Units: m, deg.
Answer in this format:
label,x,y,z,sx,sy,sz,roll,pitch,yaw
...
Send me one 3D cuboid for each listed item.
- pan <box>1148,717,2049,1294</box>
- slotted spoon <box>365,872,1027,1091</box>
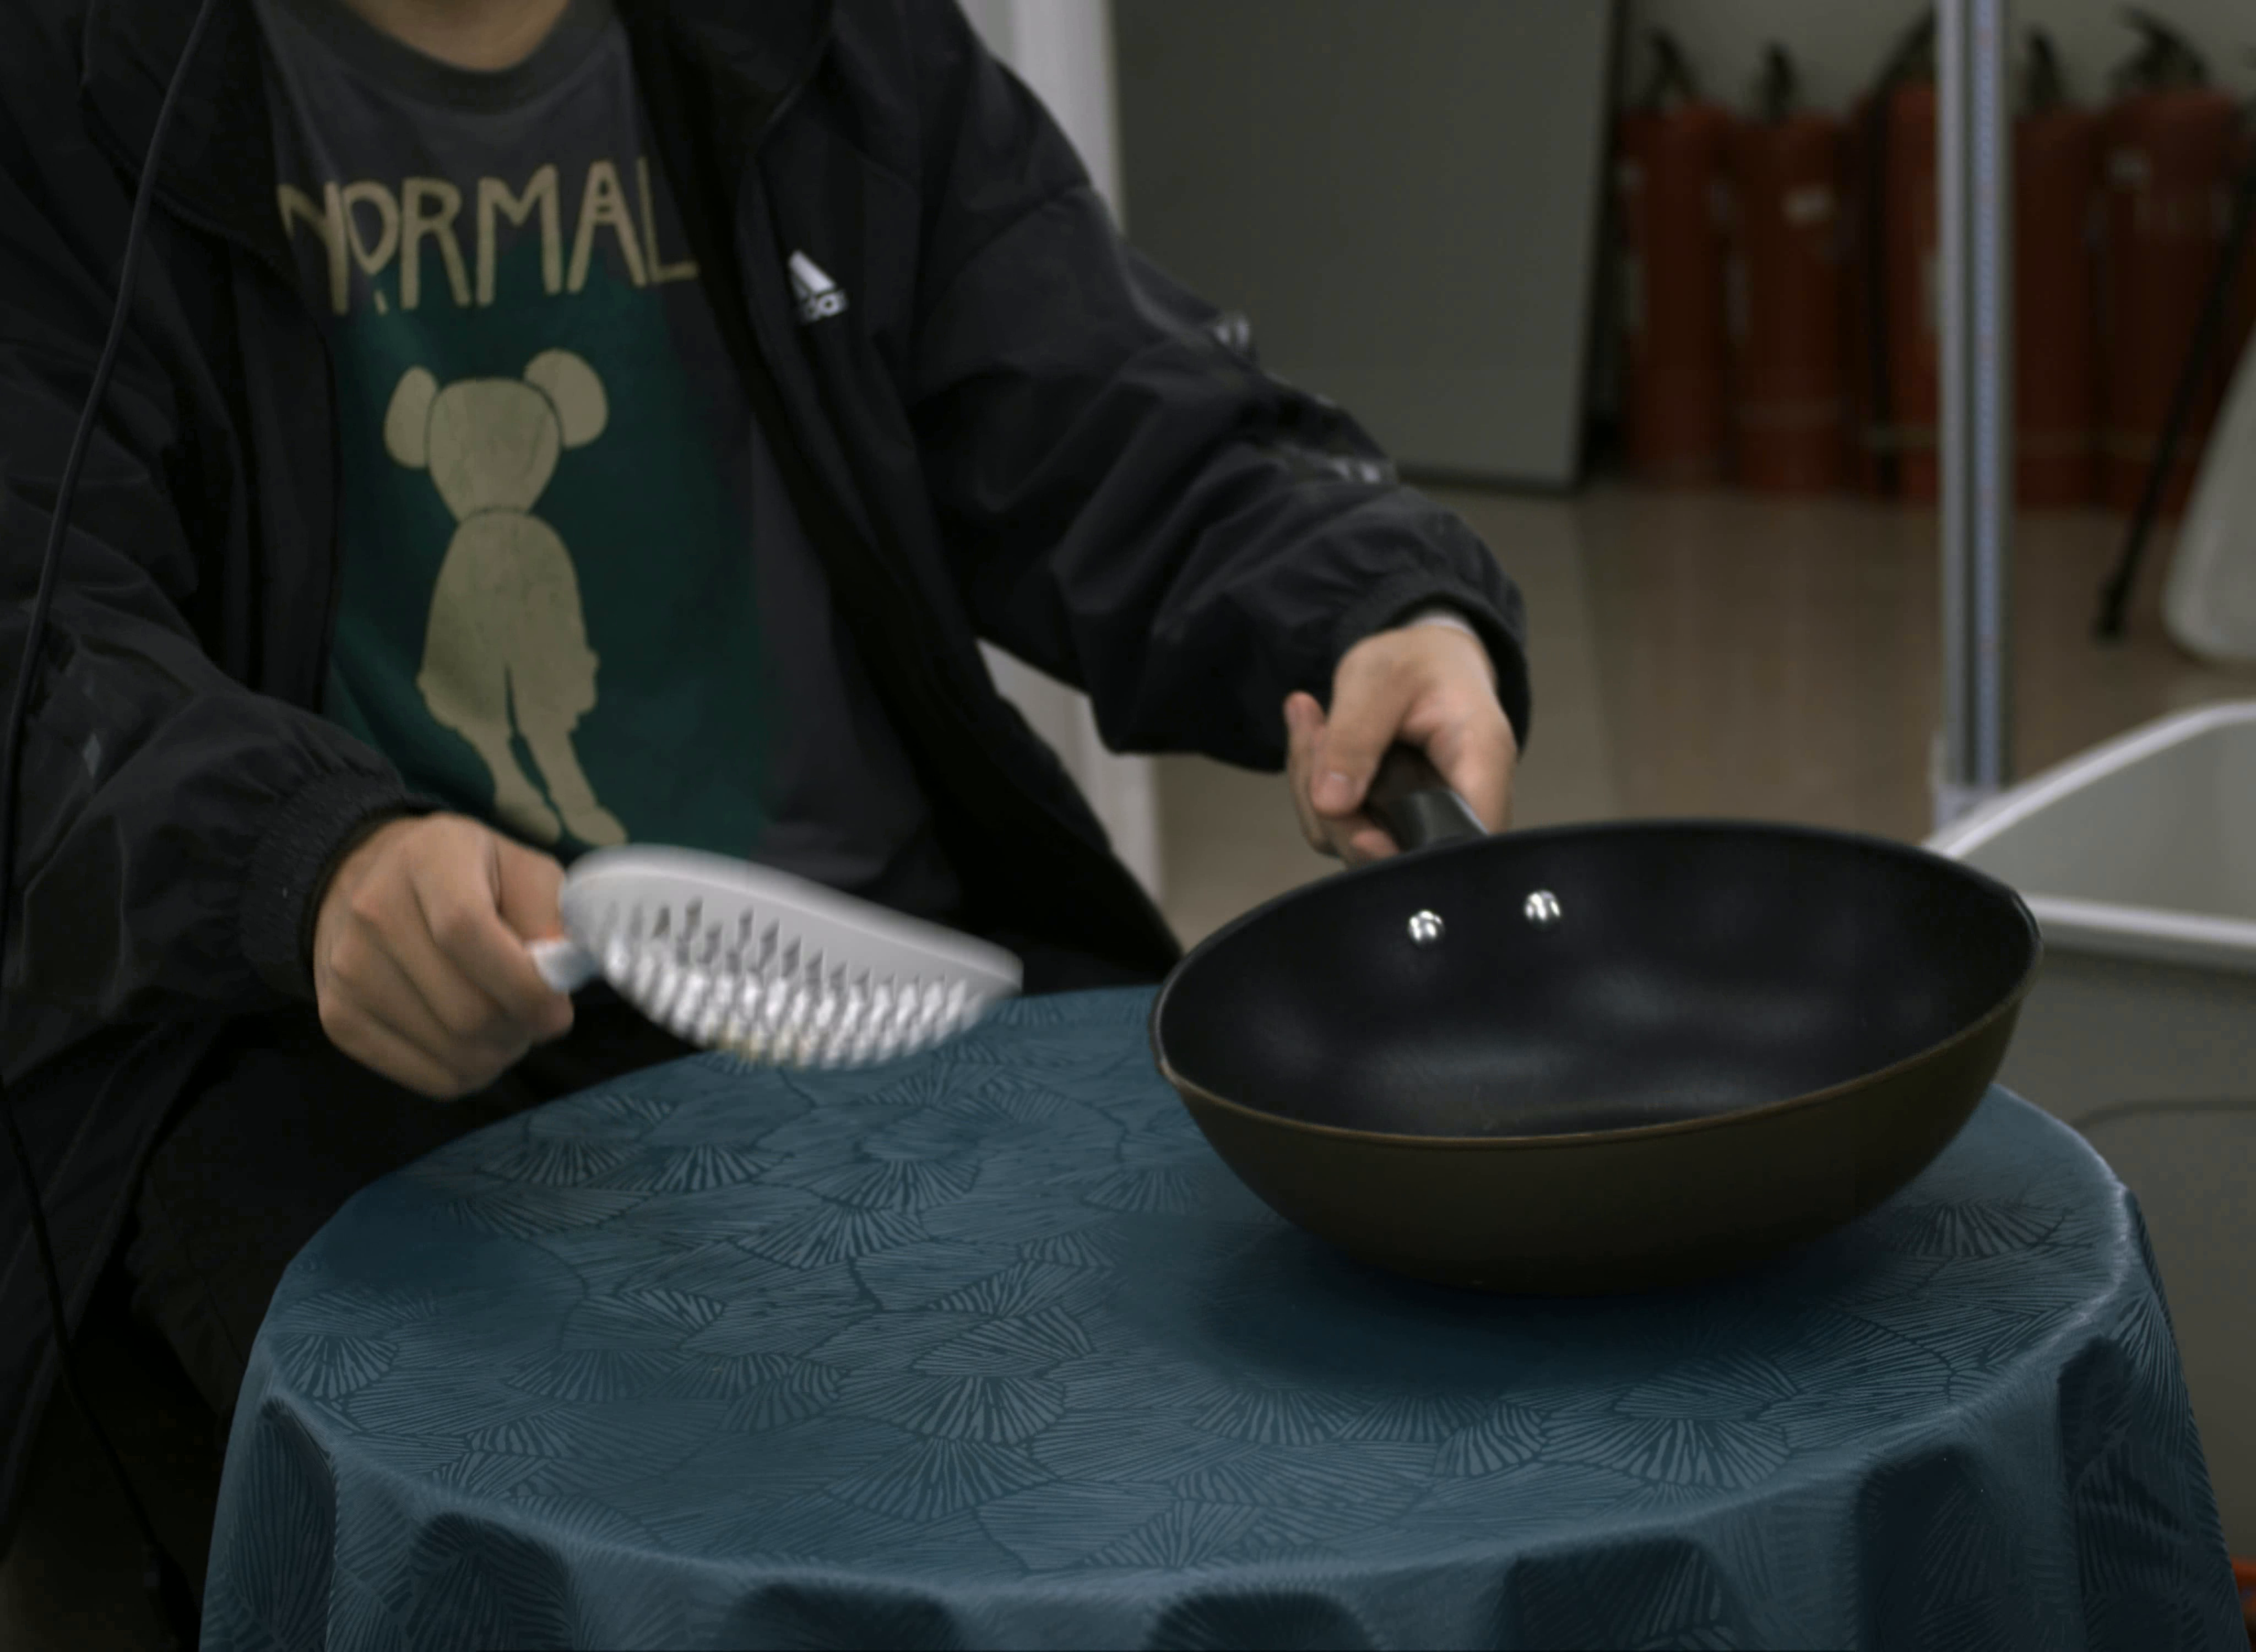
label,x,y,z,sx,sy,sz,roll,pitch,yaw
pan,0.130,0.057,1.780,0.283,0.088,0.466,-9,17,-10
slotted spoon,-0.154,0.057,1.664,0.134,0.051,0.351,18,-10,-27
